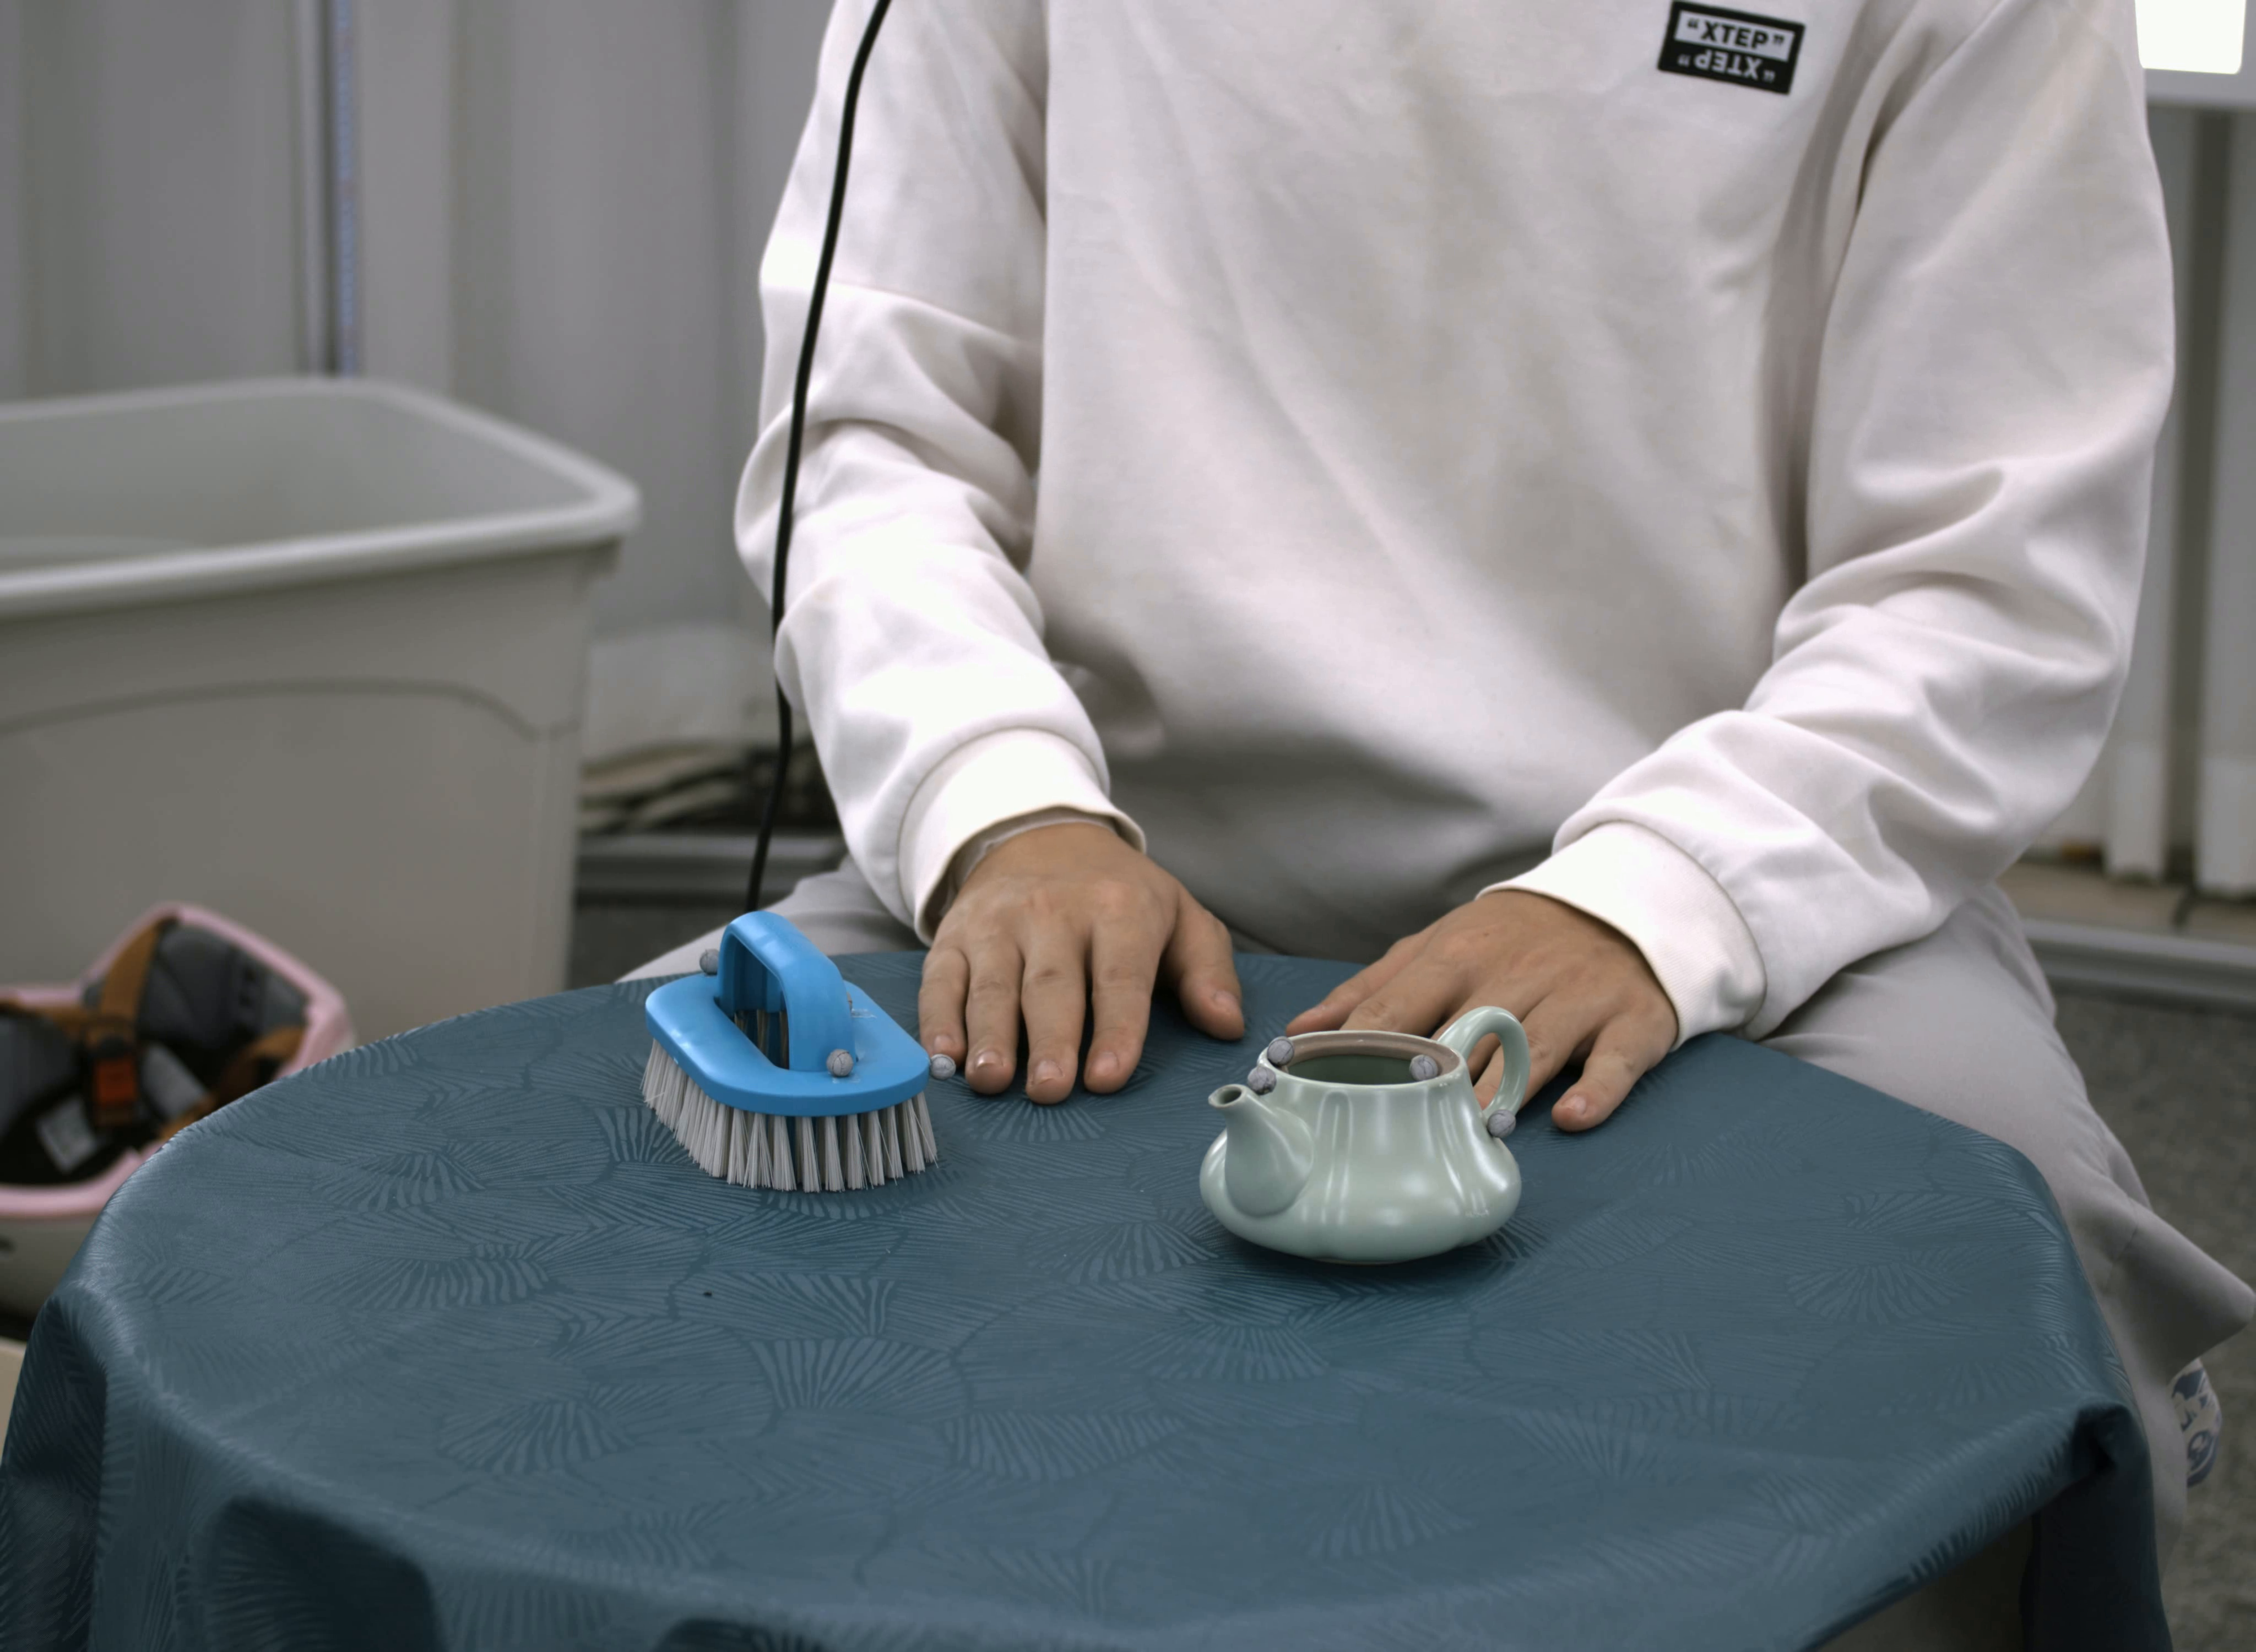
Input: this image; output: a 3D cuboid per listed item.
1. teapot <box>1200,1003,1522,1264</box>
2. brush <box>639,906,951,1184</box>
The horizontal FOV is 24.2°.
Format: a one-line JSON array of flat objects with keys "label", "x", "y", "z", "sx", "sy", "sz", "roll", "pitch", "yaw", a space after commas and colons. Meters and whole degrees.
[{"label": "teapot", "x": 0.073, "y": 0.094, "z": 1.588, "sx": 0.095, "sy": 0.062, "sz": 0.137, "roll": 11, "pitch": 19, "yaw": 40}, {"label": "brush", "x": -0.109, "y": 0.063, "z": 1.679, "sx": 0.084, "sy": 0.064, "sz": 0.140, "roll": -9, "pitch": 17, "yaw": -17}]
